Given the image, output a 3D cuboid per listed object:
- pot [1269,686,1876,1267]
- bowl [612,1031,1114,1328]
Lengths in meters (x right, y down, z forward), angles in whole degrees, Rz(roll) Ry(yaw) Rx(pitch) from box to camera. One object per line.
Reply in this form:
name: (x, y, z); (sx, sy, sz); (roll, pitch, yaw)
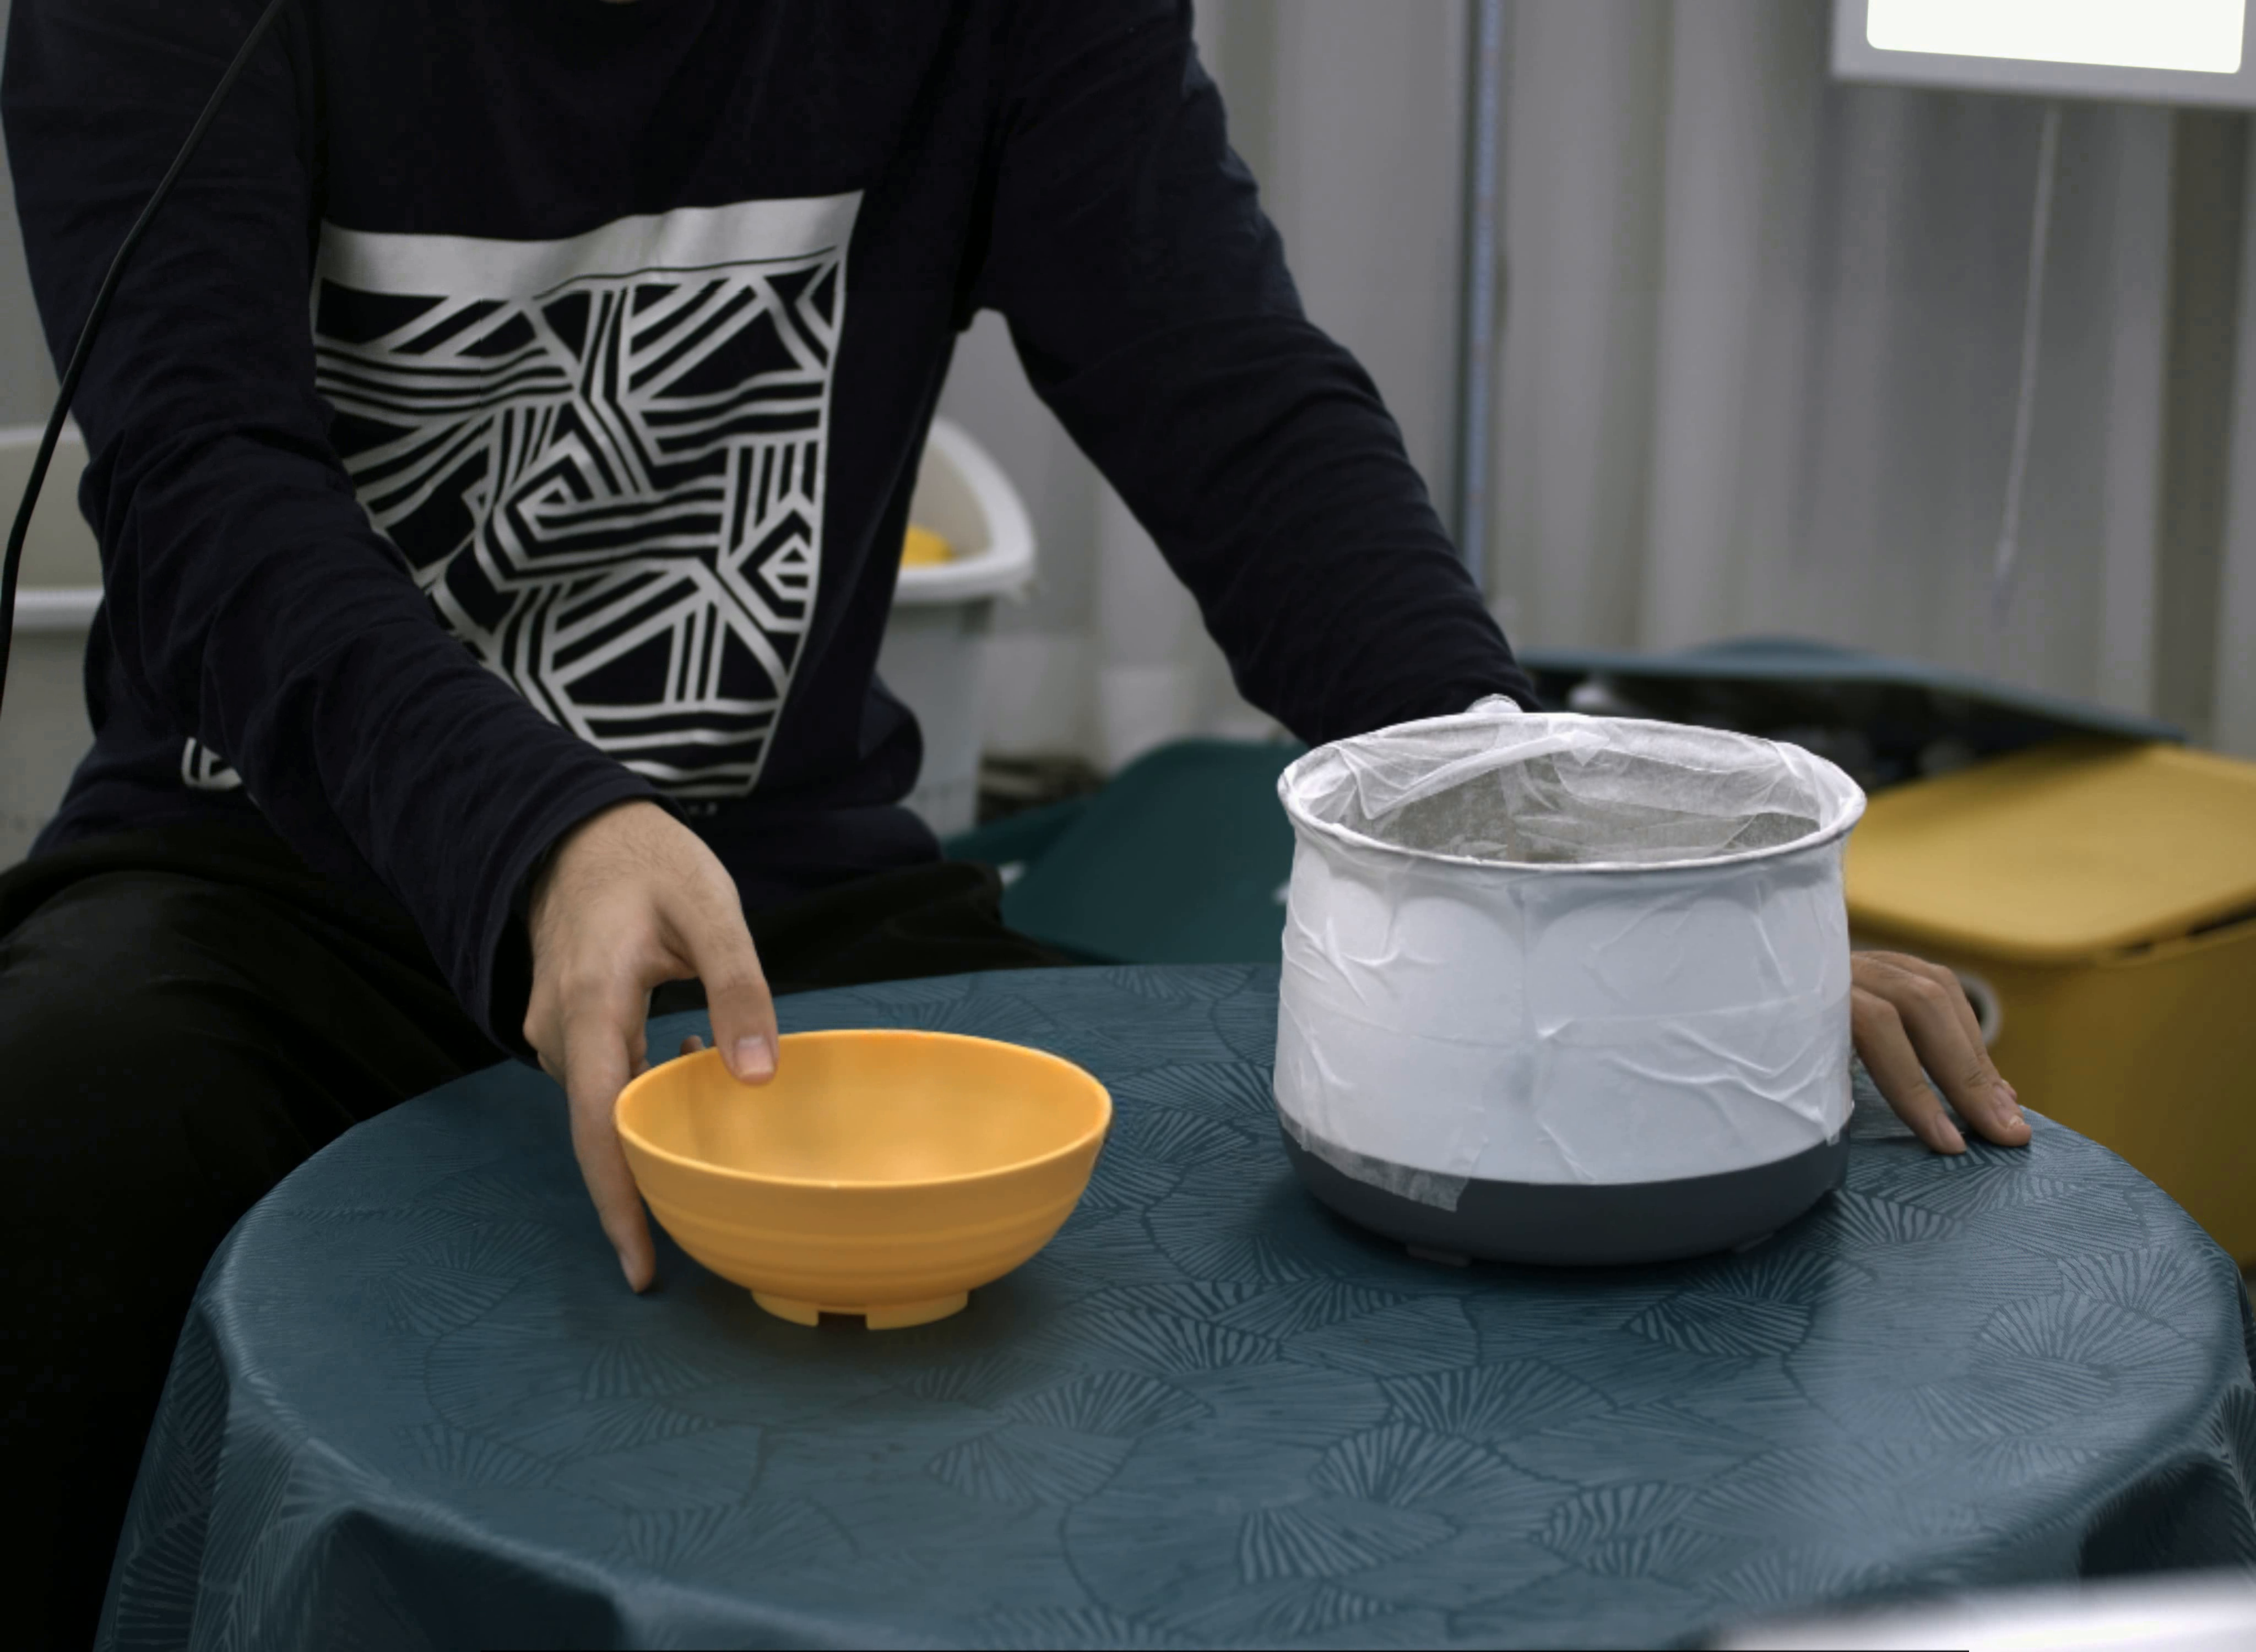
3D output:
pot: (0.127, 0.041, 1.626); (0.179, 0.137, 0.231); (0, 16, -12)
bowl: (-0.075, 0.107, 1.525); (0.145, 0.060, 0.144); (-1, 15, 1)
